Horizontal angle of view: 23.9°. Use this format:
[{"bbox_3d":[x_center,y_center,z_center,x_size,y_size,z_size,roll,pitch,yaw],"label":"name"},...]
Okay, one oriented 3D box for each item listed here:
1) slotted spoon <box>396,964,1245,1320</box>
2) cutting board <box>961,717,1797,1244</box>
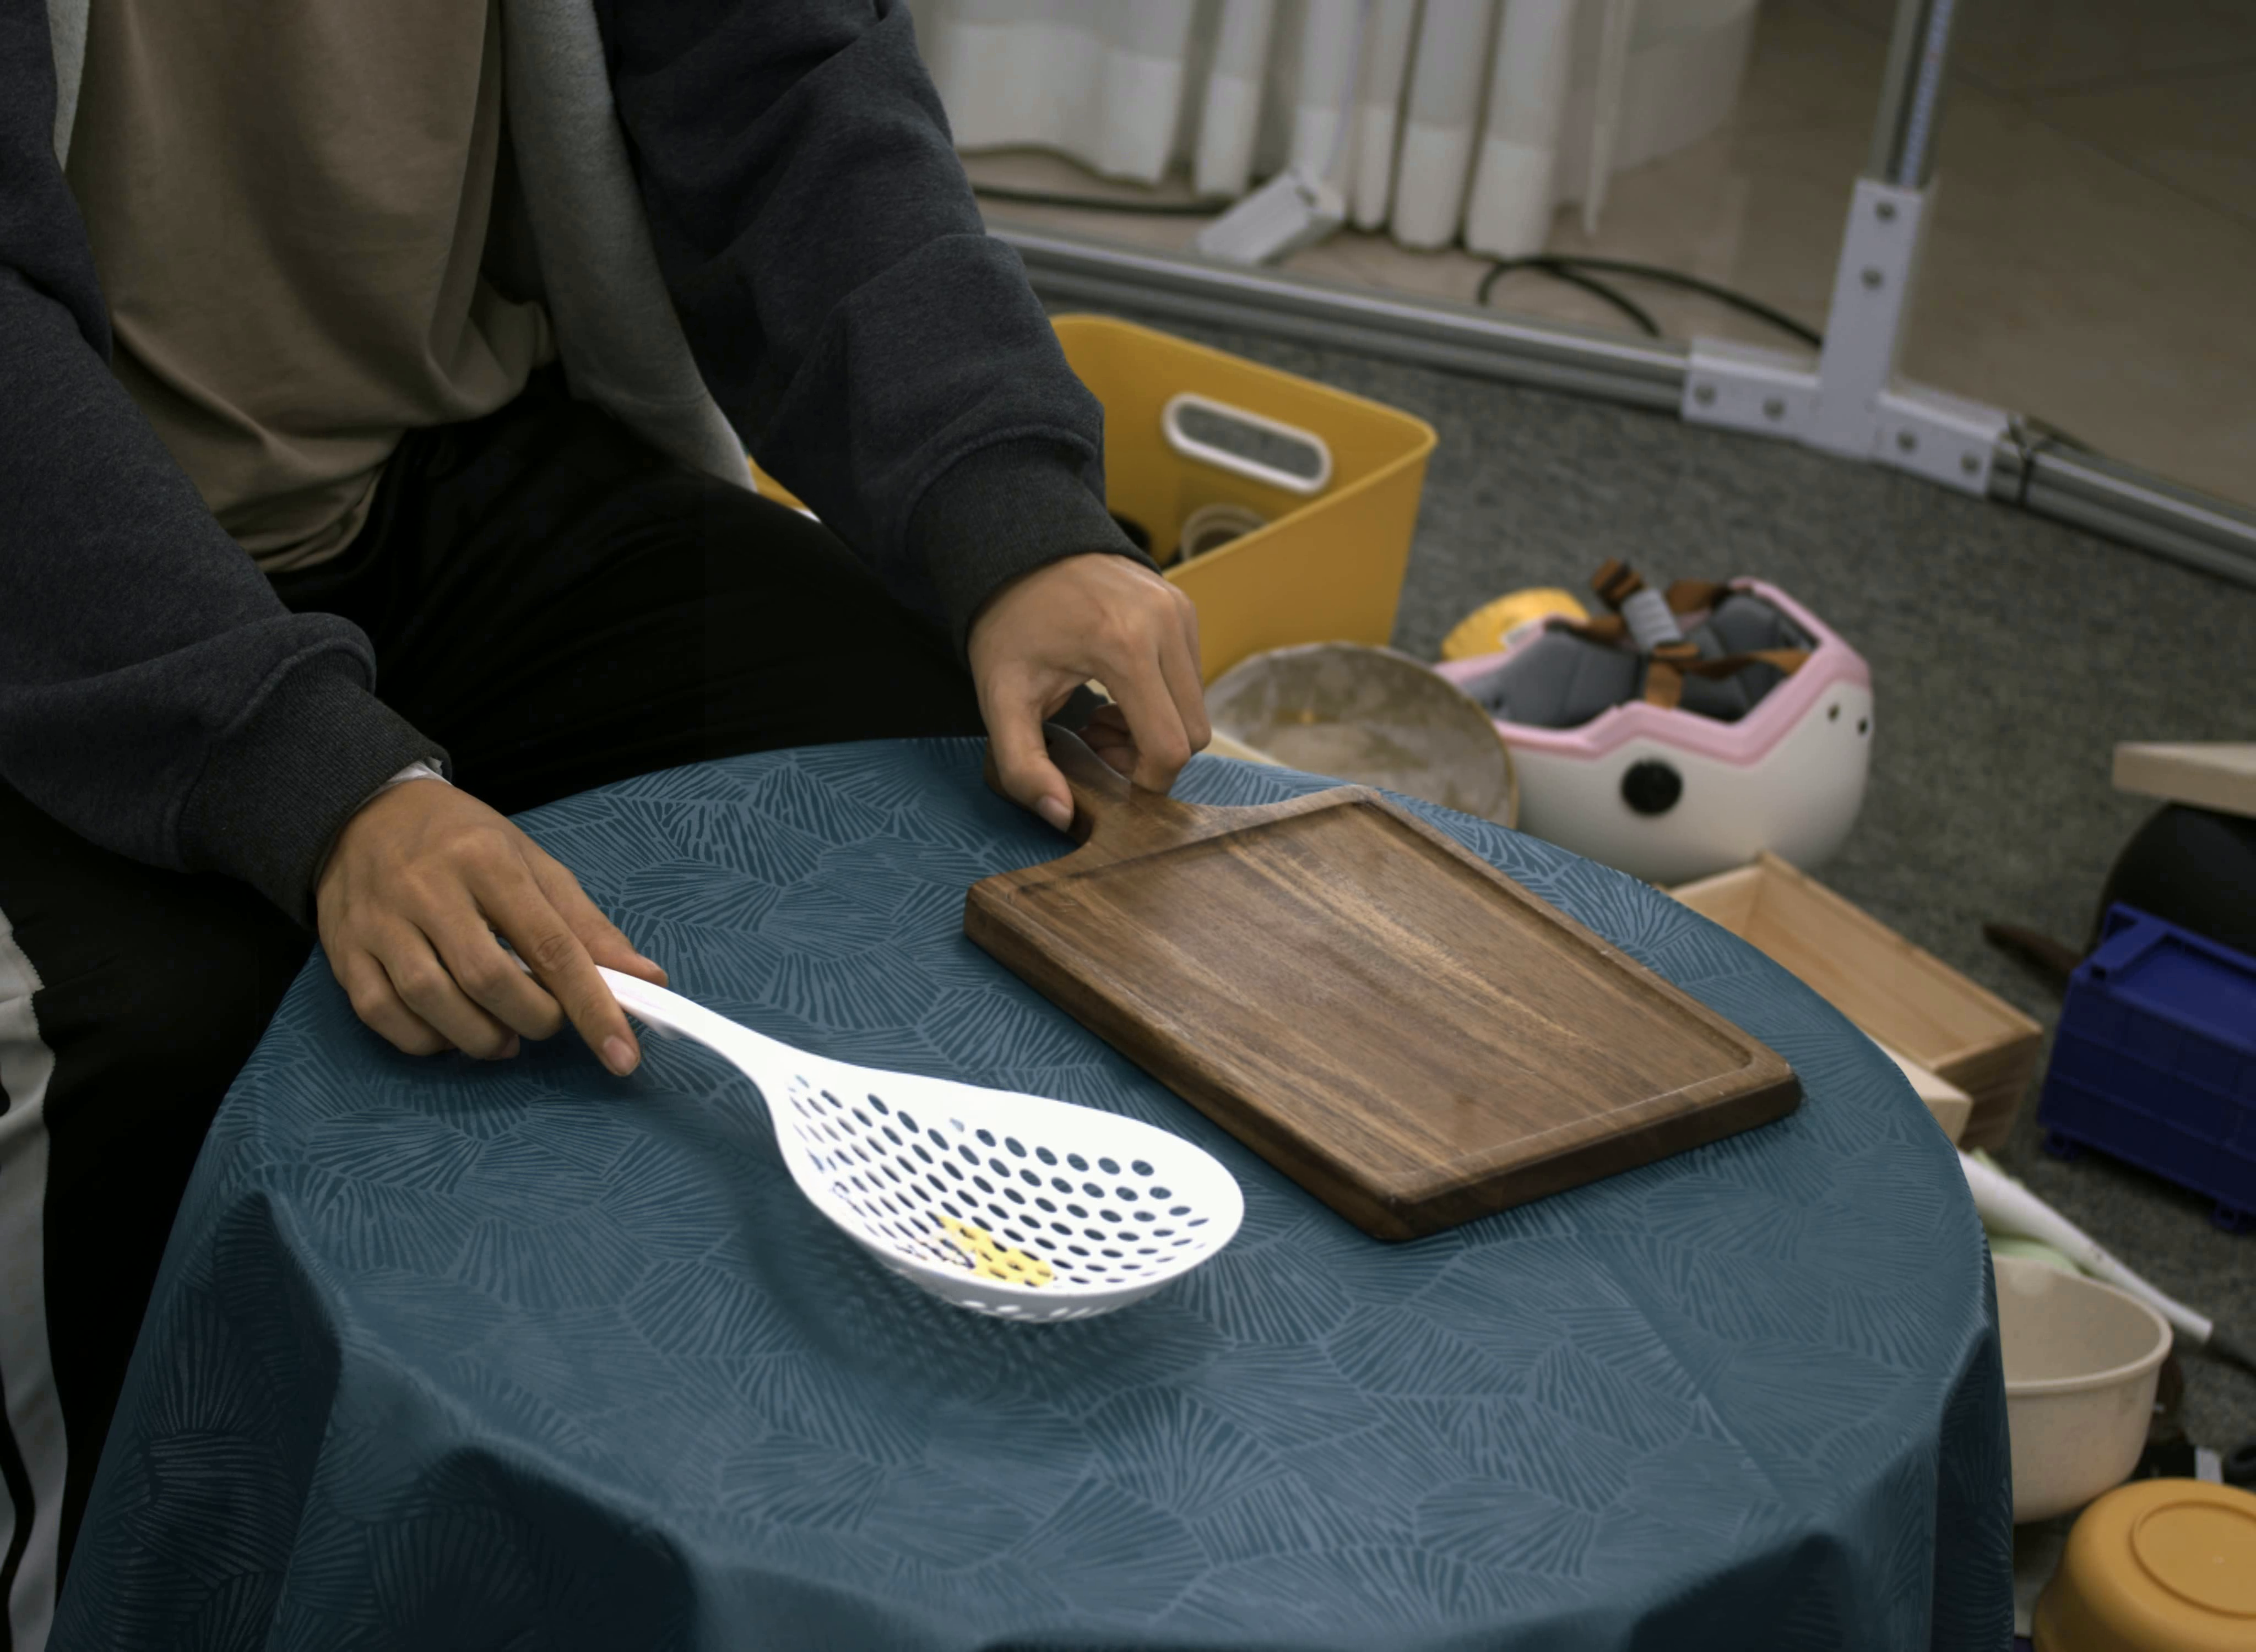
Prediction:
[{"bbox_3d":[-0.116,0.093,1.790,0.350,0.050,0.136,26,32,33],"label":"slotted spoon"},{"bbox_3d":[0.059,0.041,1.954,0.200,0.023,0.355,-14,34,-36],"label":"cutting board"}]
